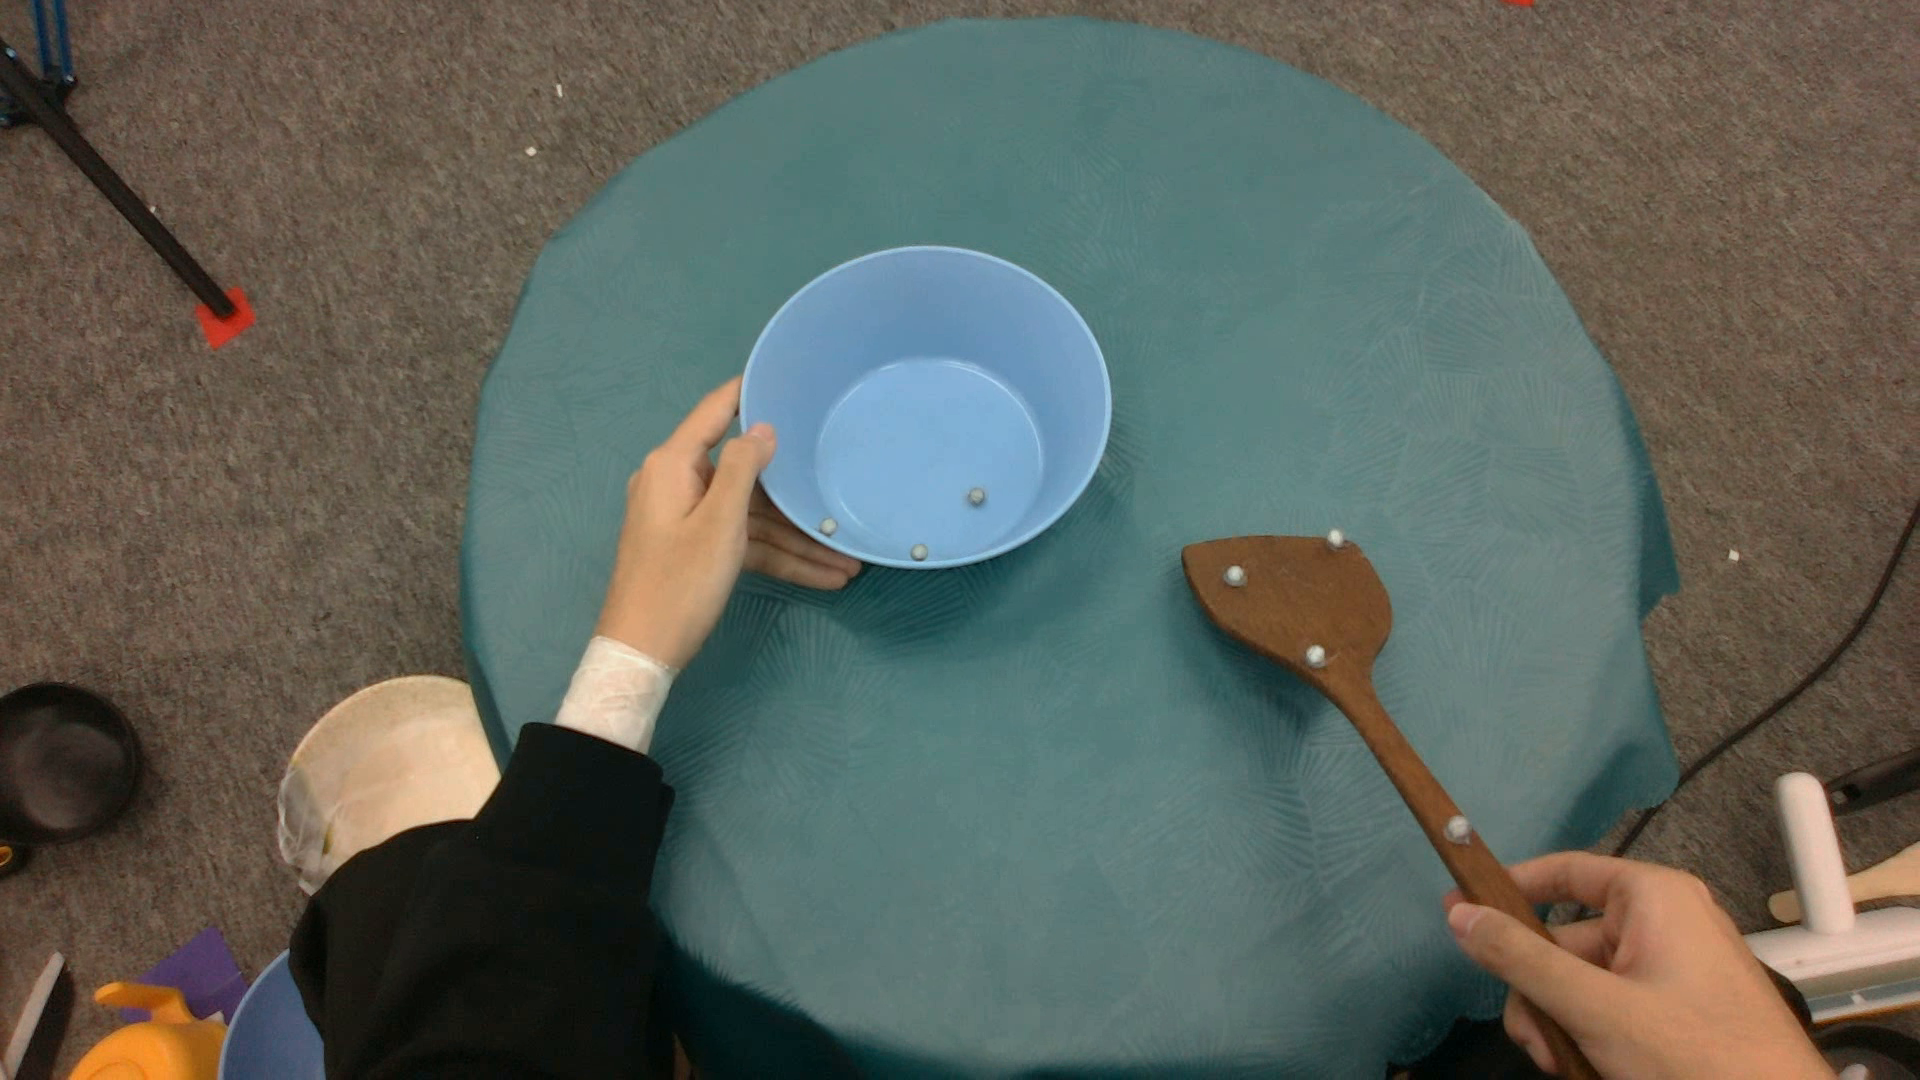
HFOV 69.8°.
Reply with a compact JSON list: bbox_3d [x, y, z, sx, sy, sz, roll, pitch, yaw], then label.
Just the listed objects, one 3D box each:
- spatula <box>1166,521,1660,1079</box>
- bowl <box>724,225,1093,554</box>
[{"bbox_3d":[0.176,0.095,0.534,0.096,0.016,0.387,-2,32,-10],"label":"spatula"},{"bbox_3d":[-0.024,-0.064,0.680,0.176,0.070,0.176,0,67,0],"label":"bowl"}]
